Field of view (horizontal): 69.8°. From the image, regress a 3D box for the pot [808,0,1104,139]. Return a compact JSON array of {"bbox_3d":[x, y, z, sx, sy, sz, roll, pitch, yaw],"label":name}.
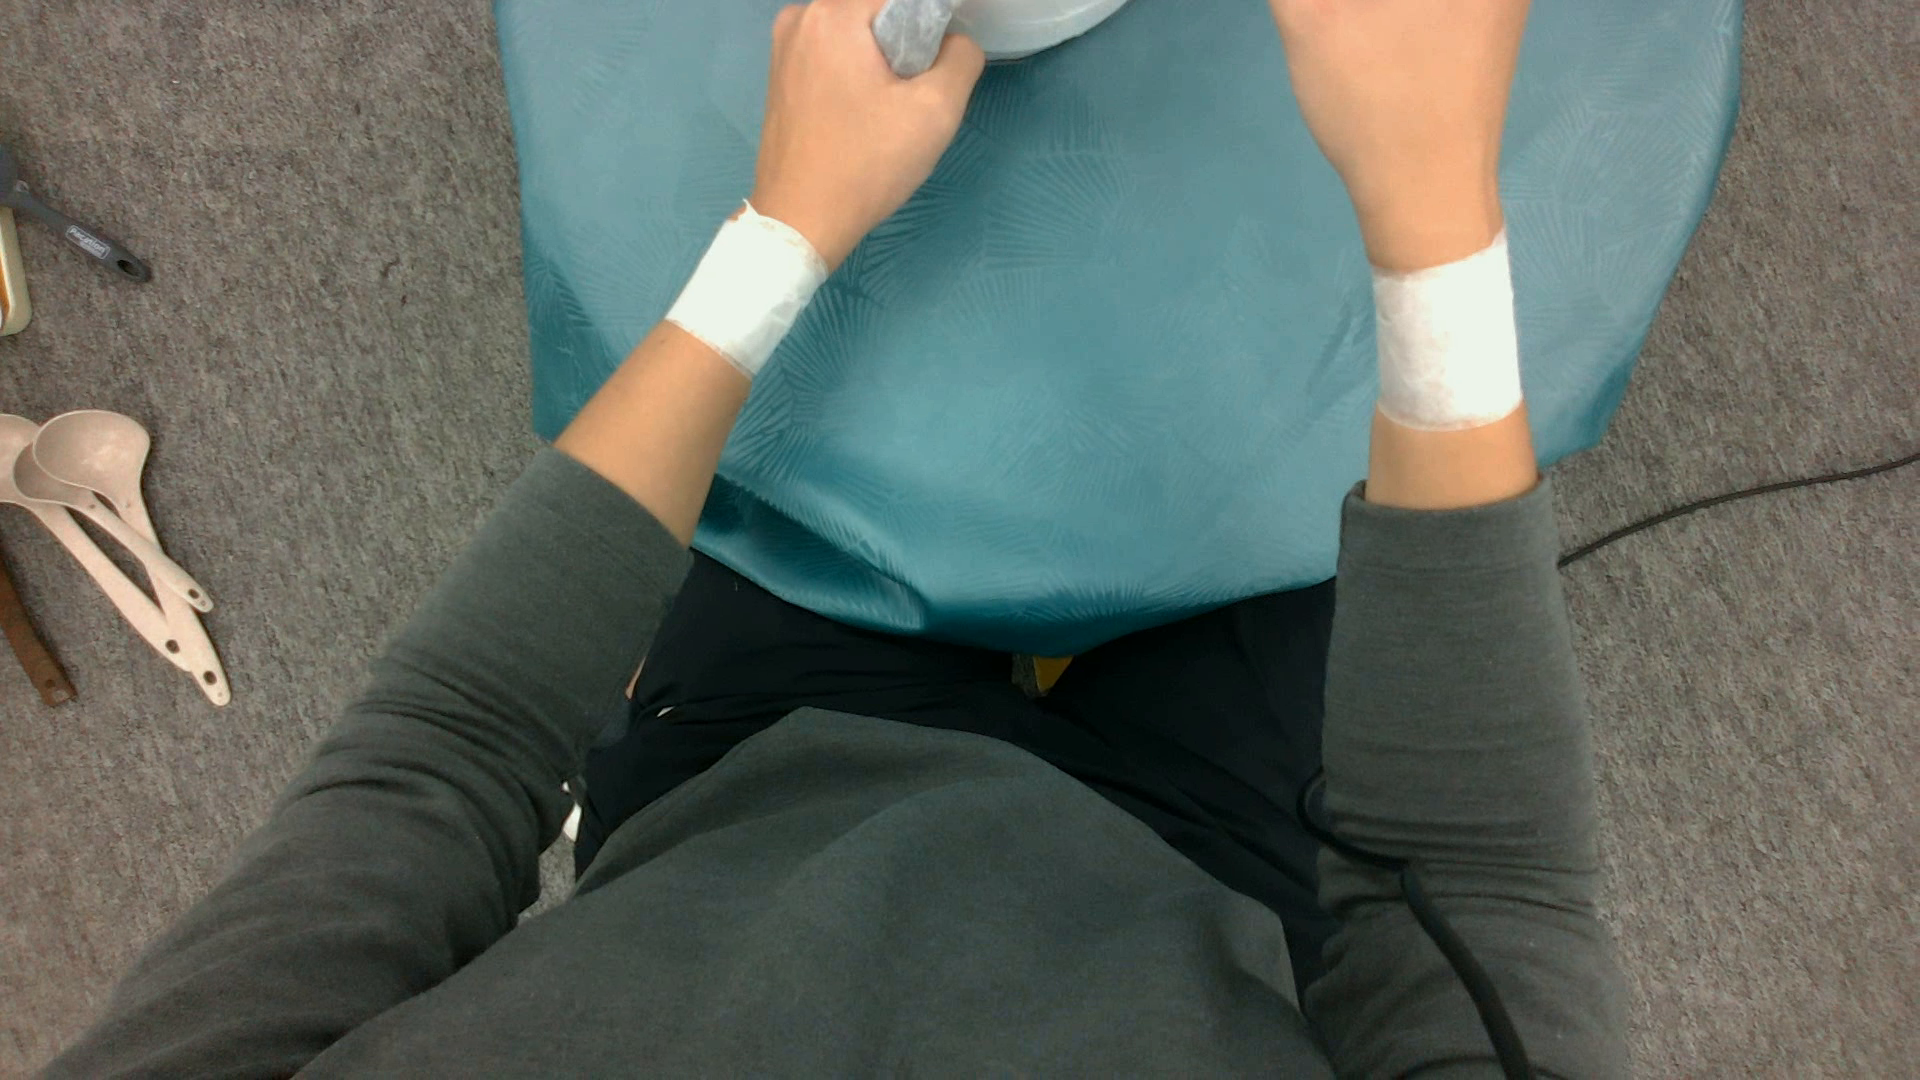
[{"bbox_3d":[0.004,-0.286,0.588,0.179,0.136,0.233,25,90,-13],"label":"pot"}]
